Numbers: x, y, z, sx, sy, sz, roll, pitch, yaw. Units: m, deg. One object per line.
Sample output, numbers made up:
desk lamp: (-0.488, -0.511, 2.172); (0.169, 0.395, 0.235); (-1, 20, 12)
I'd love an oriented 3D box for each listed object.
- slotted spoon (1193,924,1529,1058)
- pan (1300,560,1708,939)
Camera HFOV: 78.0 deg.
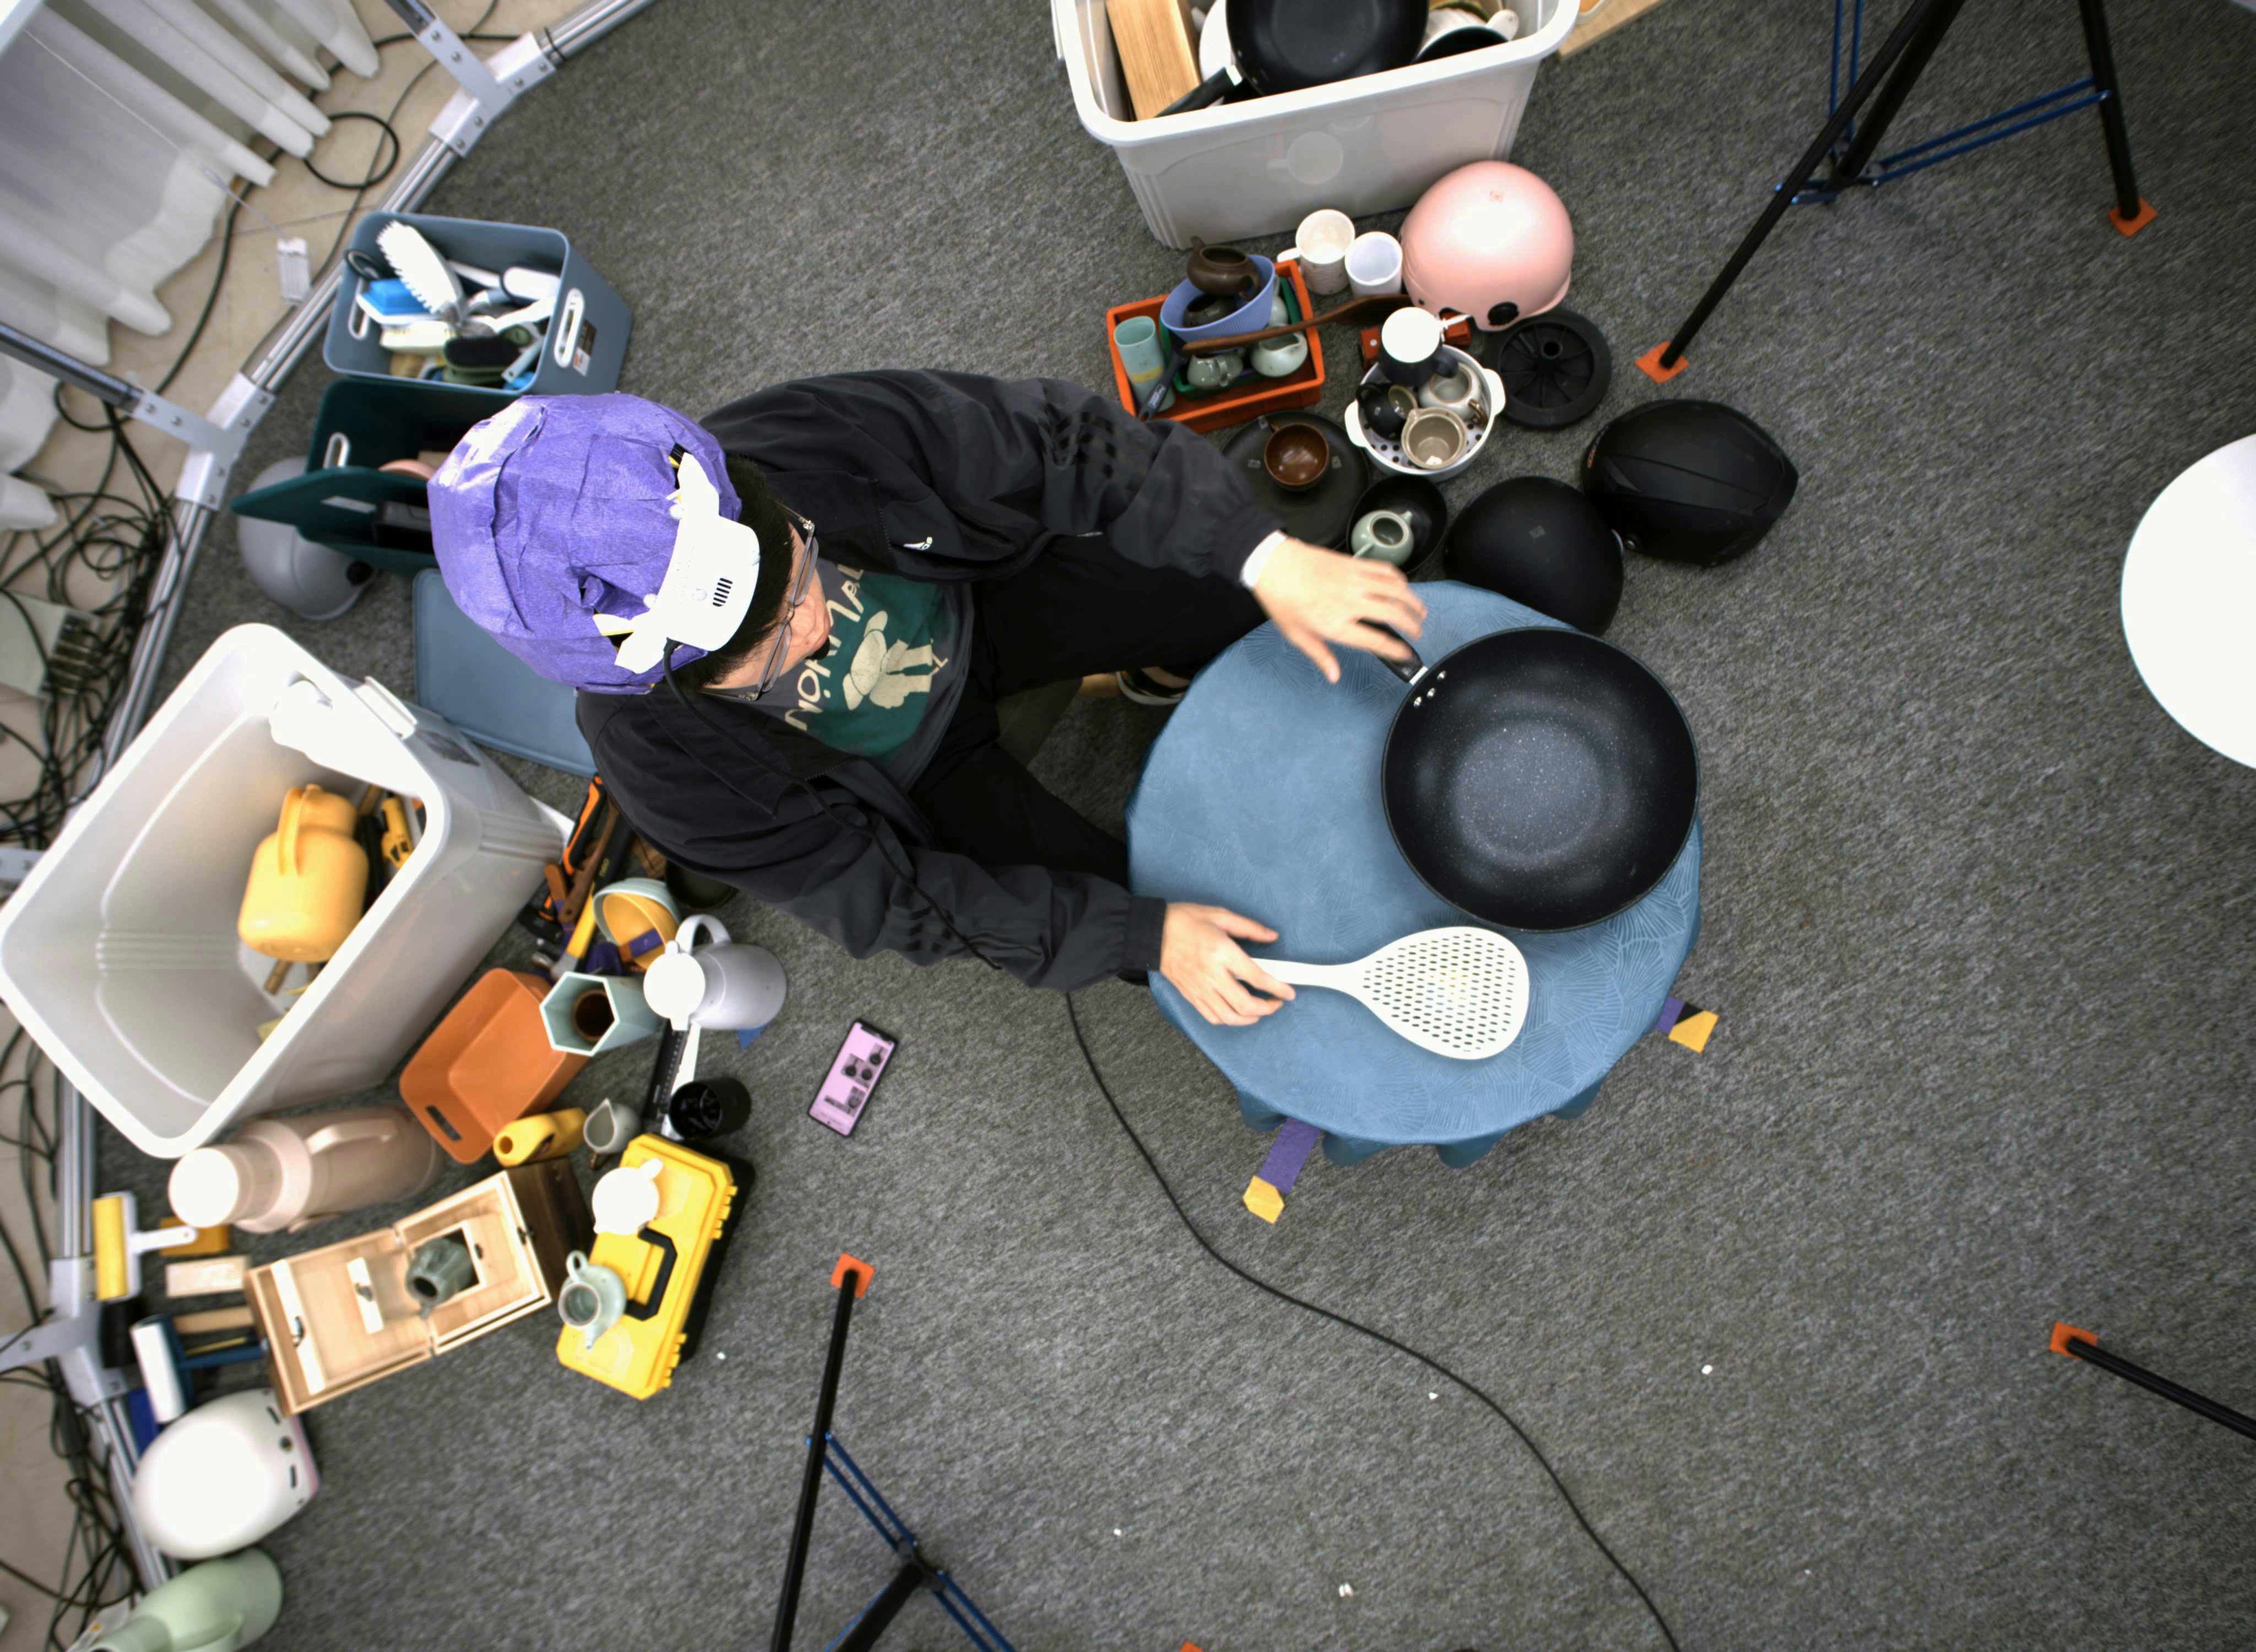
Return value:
slotted spoon: (0.237, 0.156, 1.439); (0.349, 0.050, 0.137); (5, 95, 11)
pan: (0.358, -0.099, 1.397); (0.475, 0.112, 0.311); (43, 93, 9)
